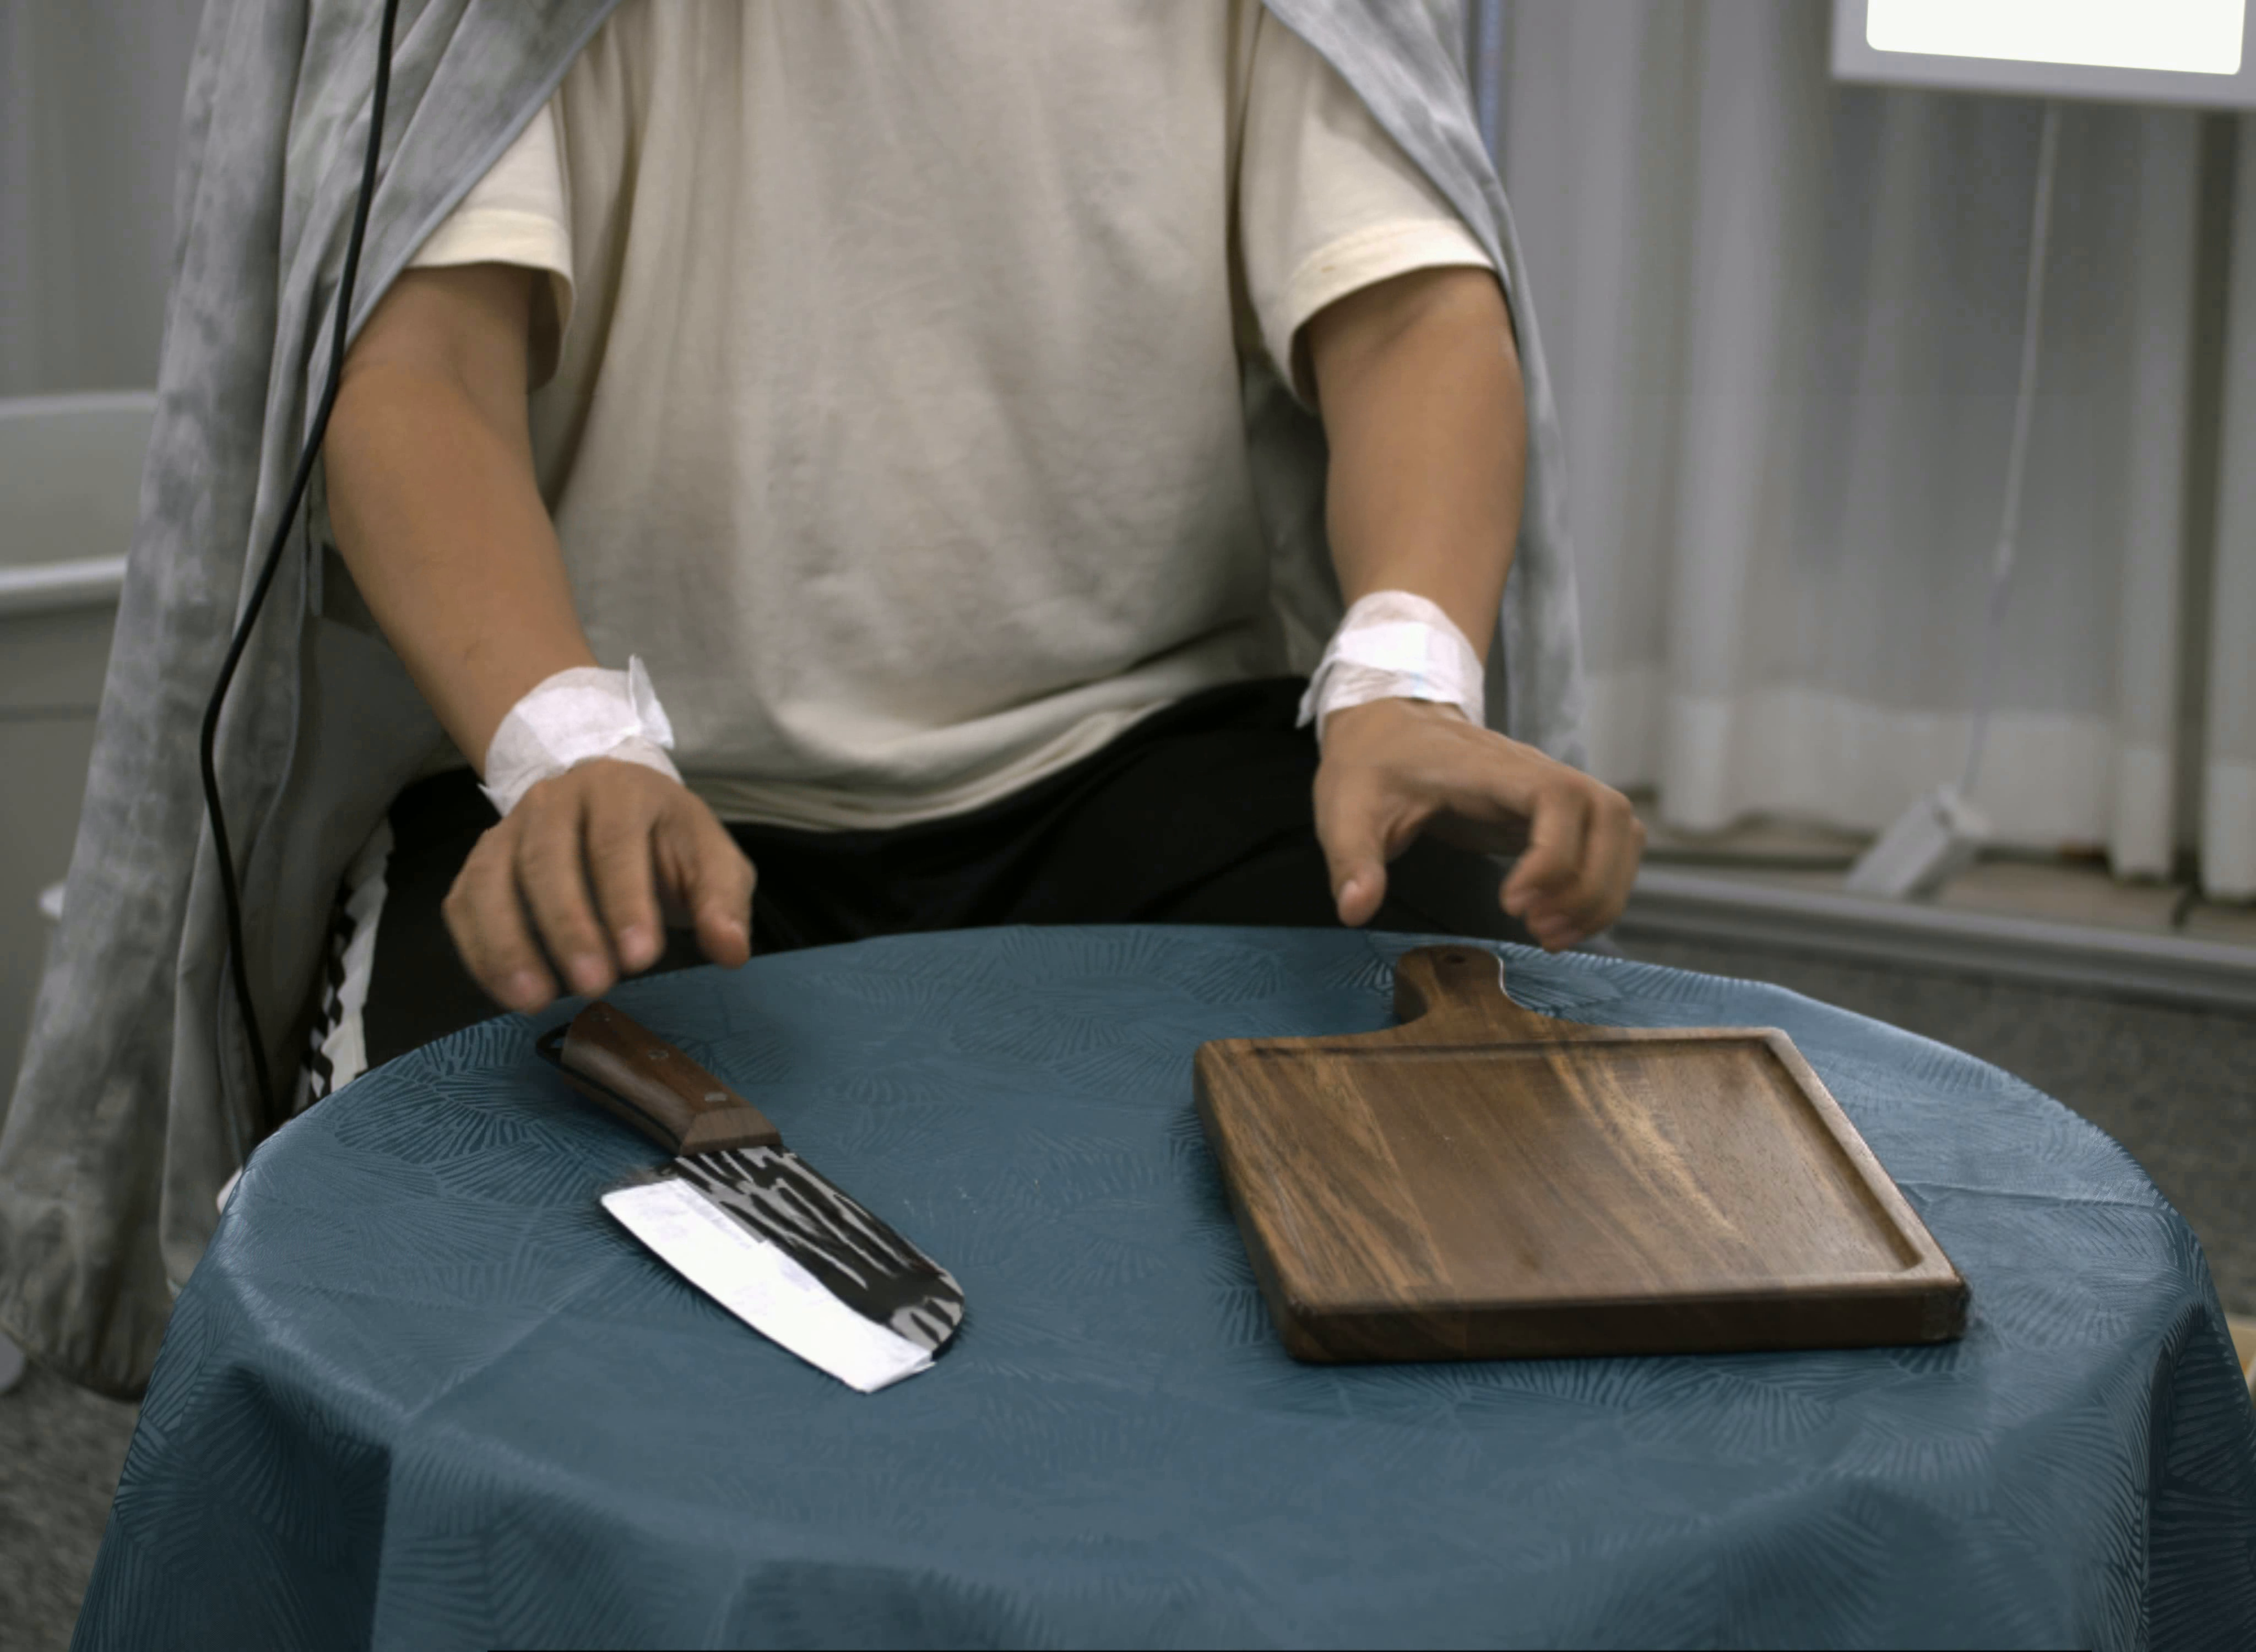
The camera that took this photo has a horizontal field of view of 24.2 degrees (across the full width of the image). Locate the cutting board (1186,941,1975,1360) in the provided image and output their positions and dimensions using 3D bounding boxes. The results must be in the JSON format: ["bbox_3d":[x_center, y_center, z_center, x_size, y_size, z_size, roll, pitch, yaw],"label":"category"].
[{"bbox_3d":[0.125,0.094,1.654,0.201,0.023,0.349,-1,15,-7],"label":"cutting board"}]

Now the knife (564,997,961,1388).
[{"bbox_3d":[-0.123,0.110,1.593,0.068,0.024,0.295,-10,21,-26],"label":"knife"}]
